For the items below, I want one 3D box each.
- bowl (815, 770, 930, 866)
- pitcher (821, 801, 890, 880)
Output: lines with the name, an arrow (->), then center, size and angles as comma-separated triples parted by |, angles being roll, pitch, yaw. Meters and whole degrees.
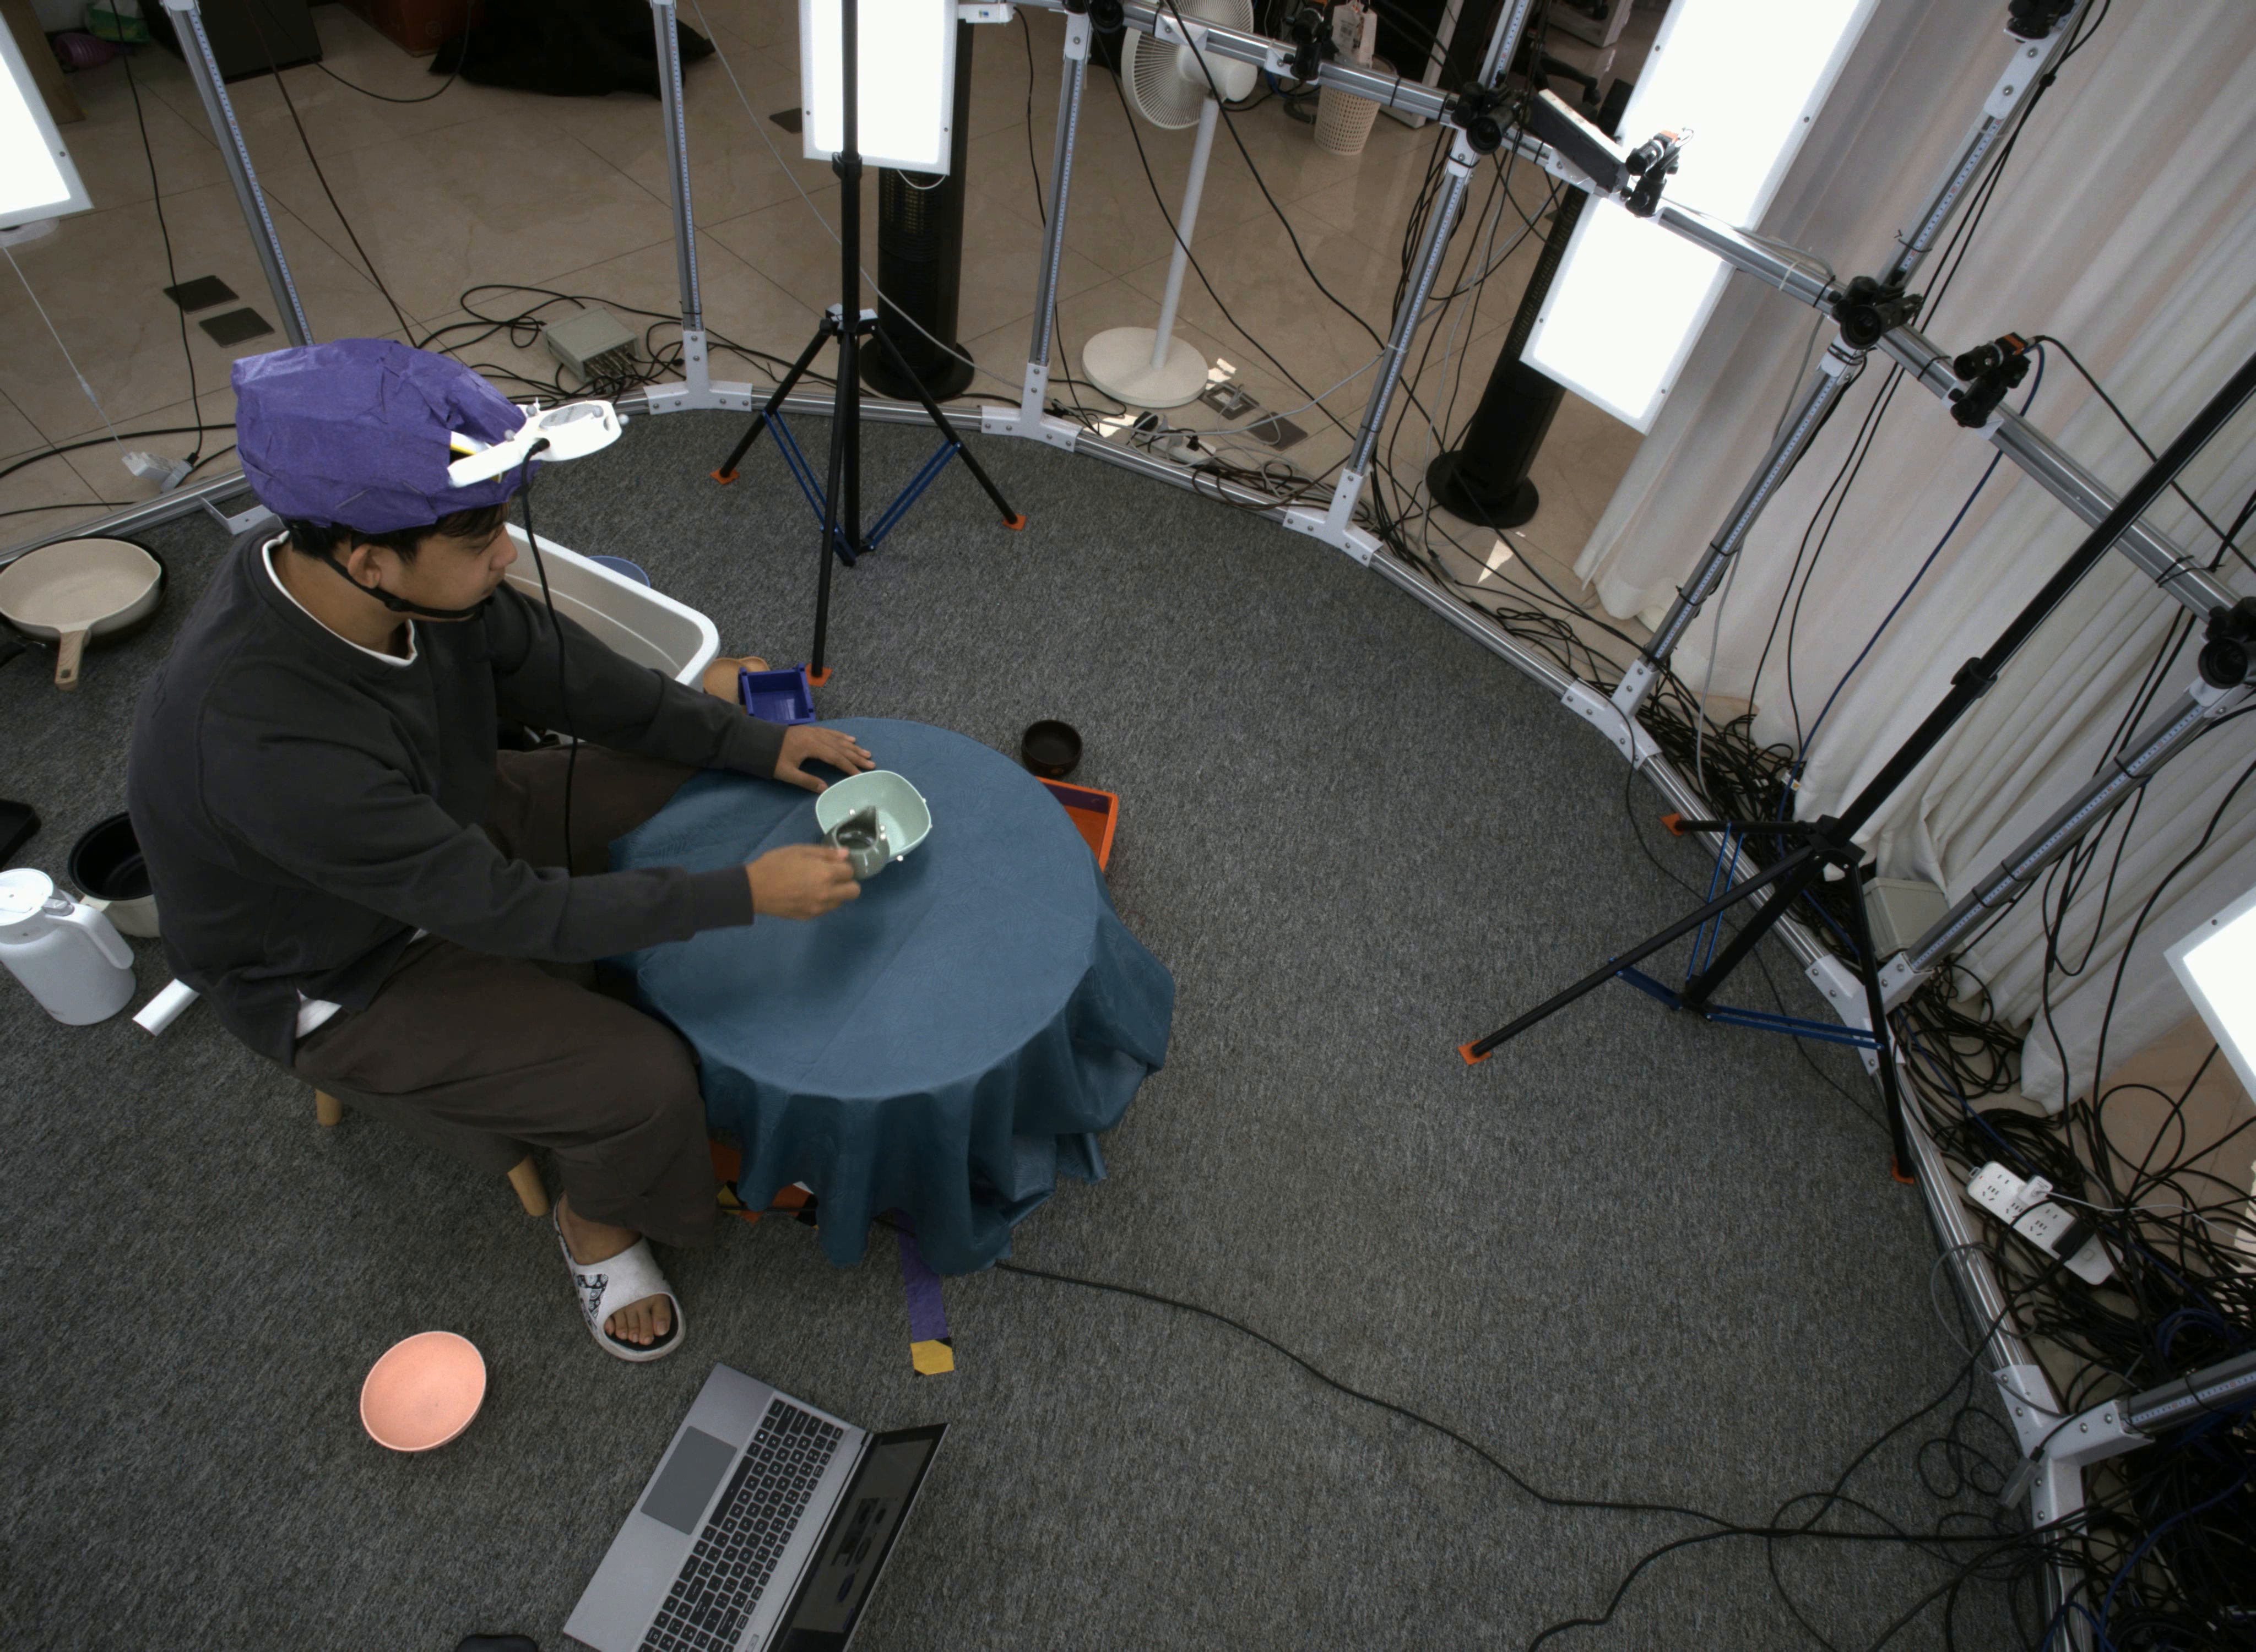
bowl -> -0.335, 0.001, 1.706 | 0.151, 0.060, 0.149 | 8, 52, -9
pitcher -> -0.334, 0.024, 1.576 | 0.083, 0.057, 0.111 | 19, 46, 2
